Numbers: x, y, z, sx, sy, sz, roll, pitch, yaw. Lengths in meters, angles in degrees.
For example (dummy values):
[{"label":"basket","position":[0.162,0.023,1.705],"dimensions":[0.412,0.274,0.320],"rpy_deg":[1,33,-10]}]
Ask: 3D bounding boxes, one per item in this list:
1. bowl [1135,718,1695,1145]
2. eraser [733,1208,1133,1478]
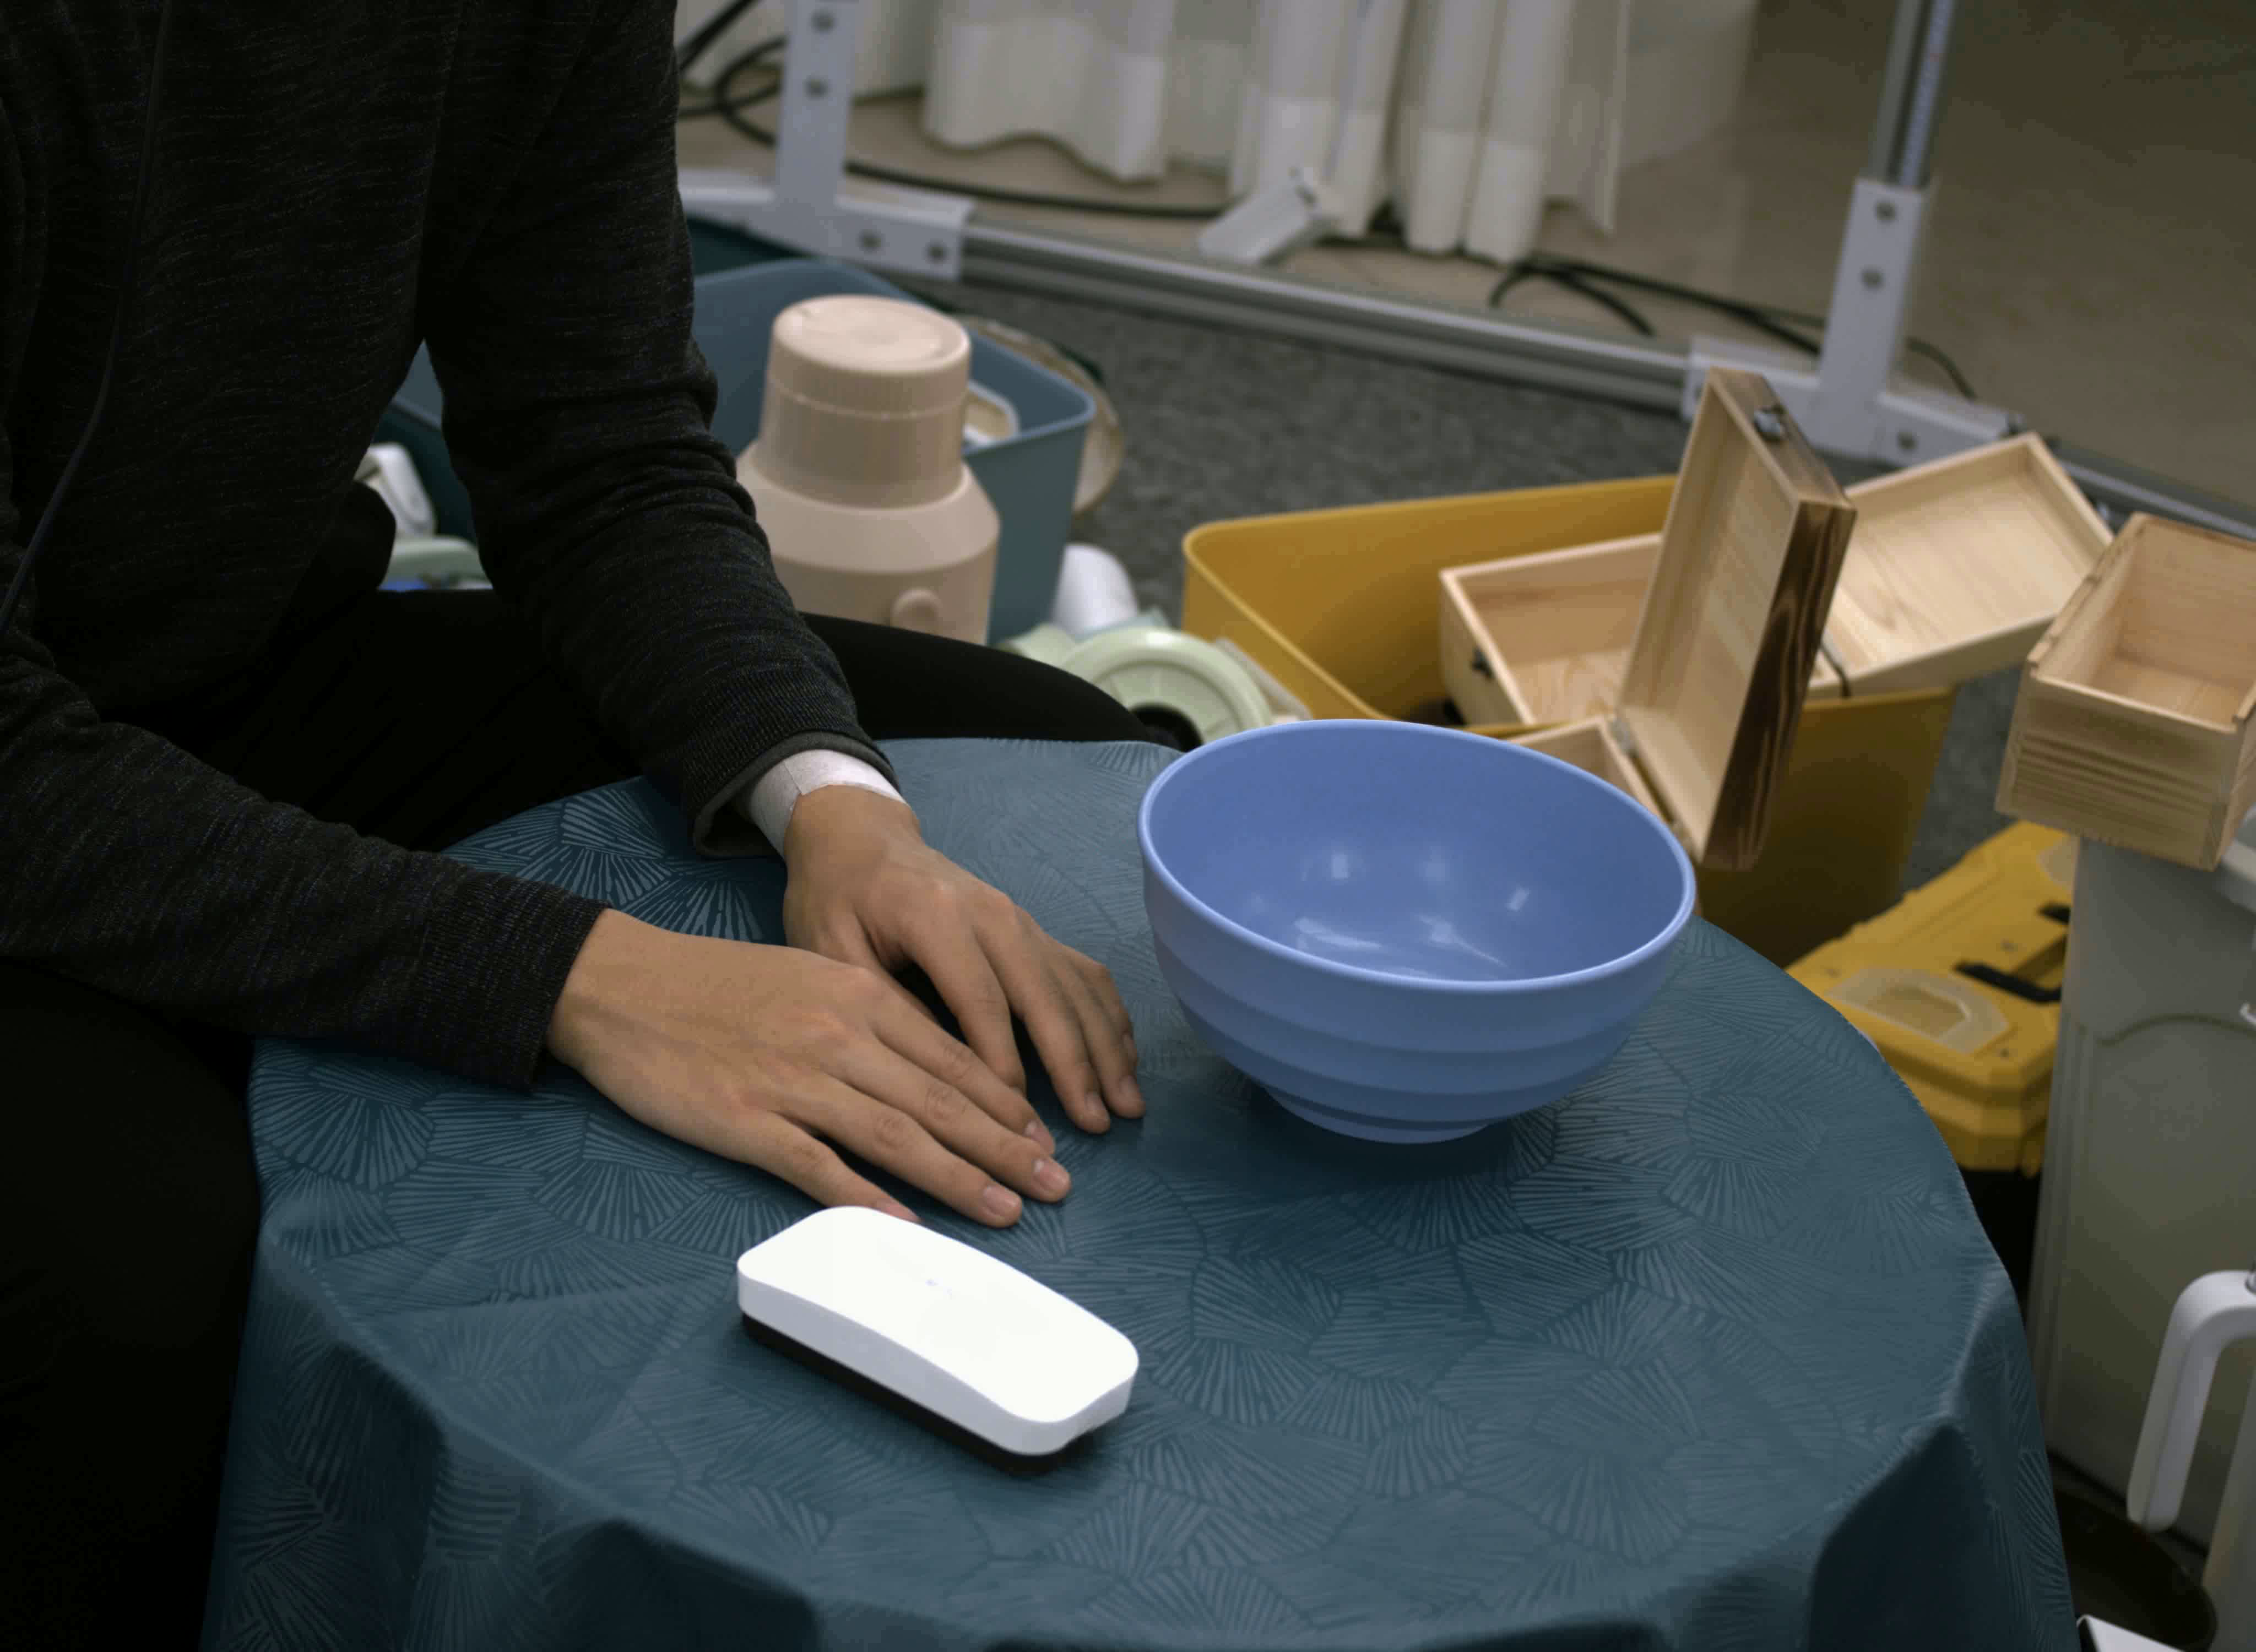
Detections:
[{"label":"bowl","position":[0.095,0.048,1.868],"dimensions":[0.196,0.095,0.198],"rpy_deg":[6,27,-3]},{"label":"eraser","position":[-0.062,0.160,1.683],"dimensions":[0.132,0.034,0.063],"rpy_deg":[25,31,30]}]
